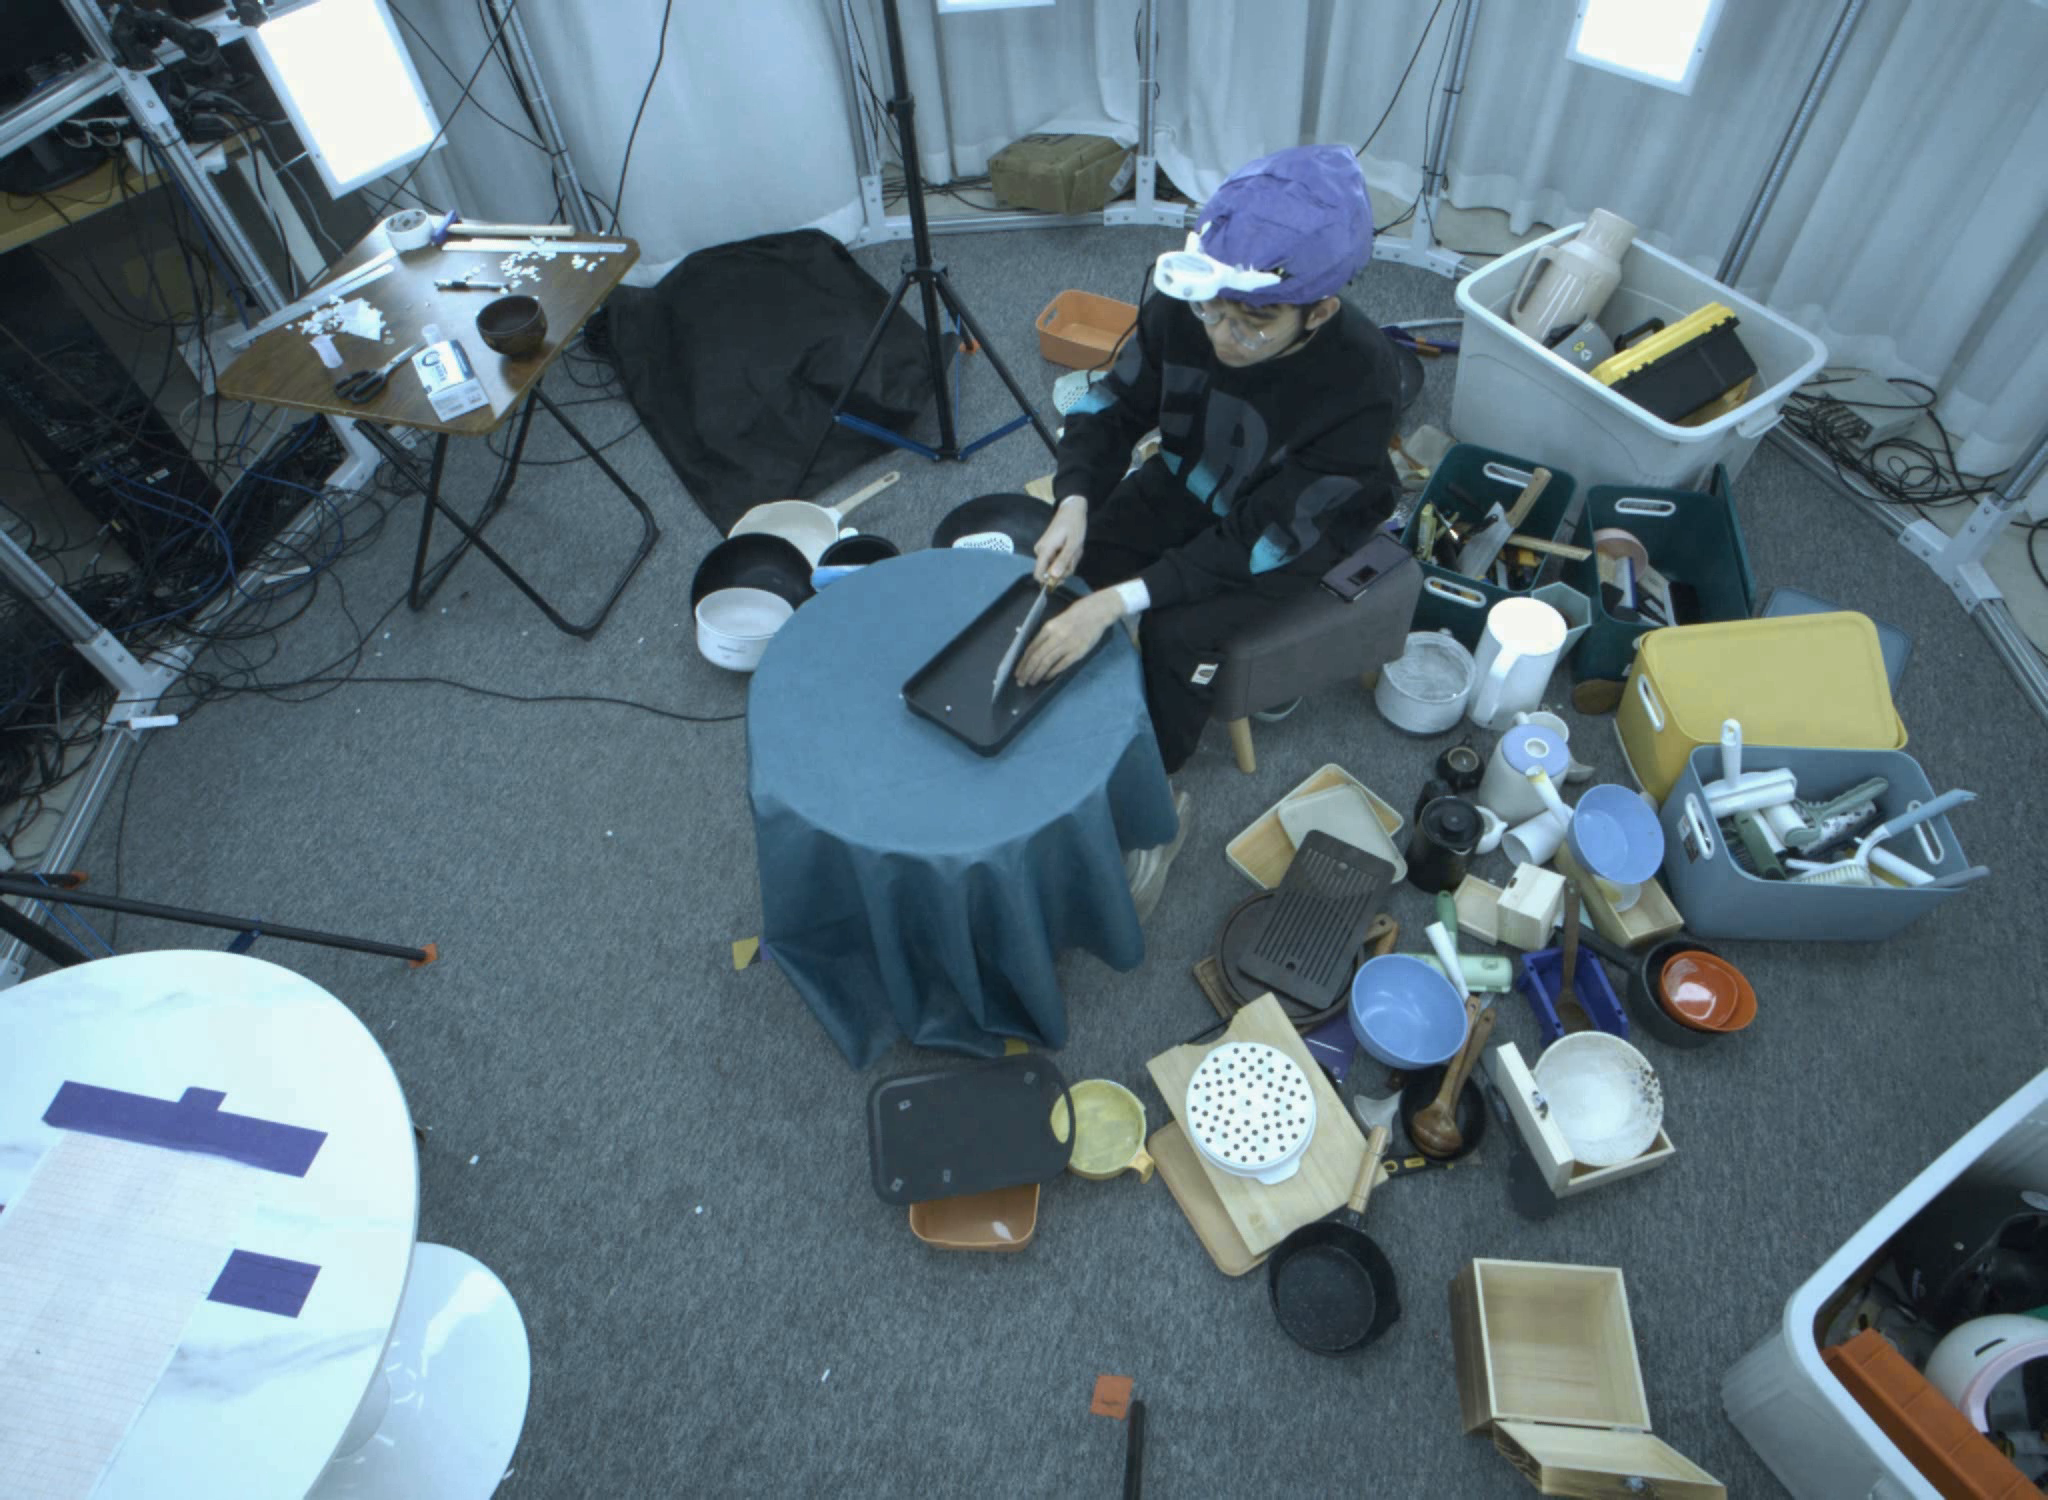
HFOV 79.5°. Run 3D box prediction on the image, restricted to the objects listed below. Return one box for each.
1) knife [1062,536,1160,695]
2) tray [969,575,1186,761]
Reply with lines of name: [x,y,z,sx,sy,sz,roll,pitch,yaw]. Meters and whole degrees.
knife: [0.129,-0.202,1.860,0.021,0.093,0.306,27,59,8]
tray: [0.083,-0.130,1.853,0.181,0.037,0.320,35,63,24]
